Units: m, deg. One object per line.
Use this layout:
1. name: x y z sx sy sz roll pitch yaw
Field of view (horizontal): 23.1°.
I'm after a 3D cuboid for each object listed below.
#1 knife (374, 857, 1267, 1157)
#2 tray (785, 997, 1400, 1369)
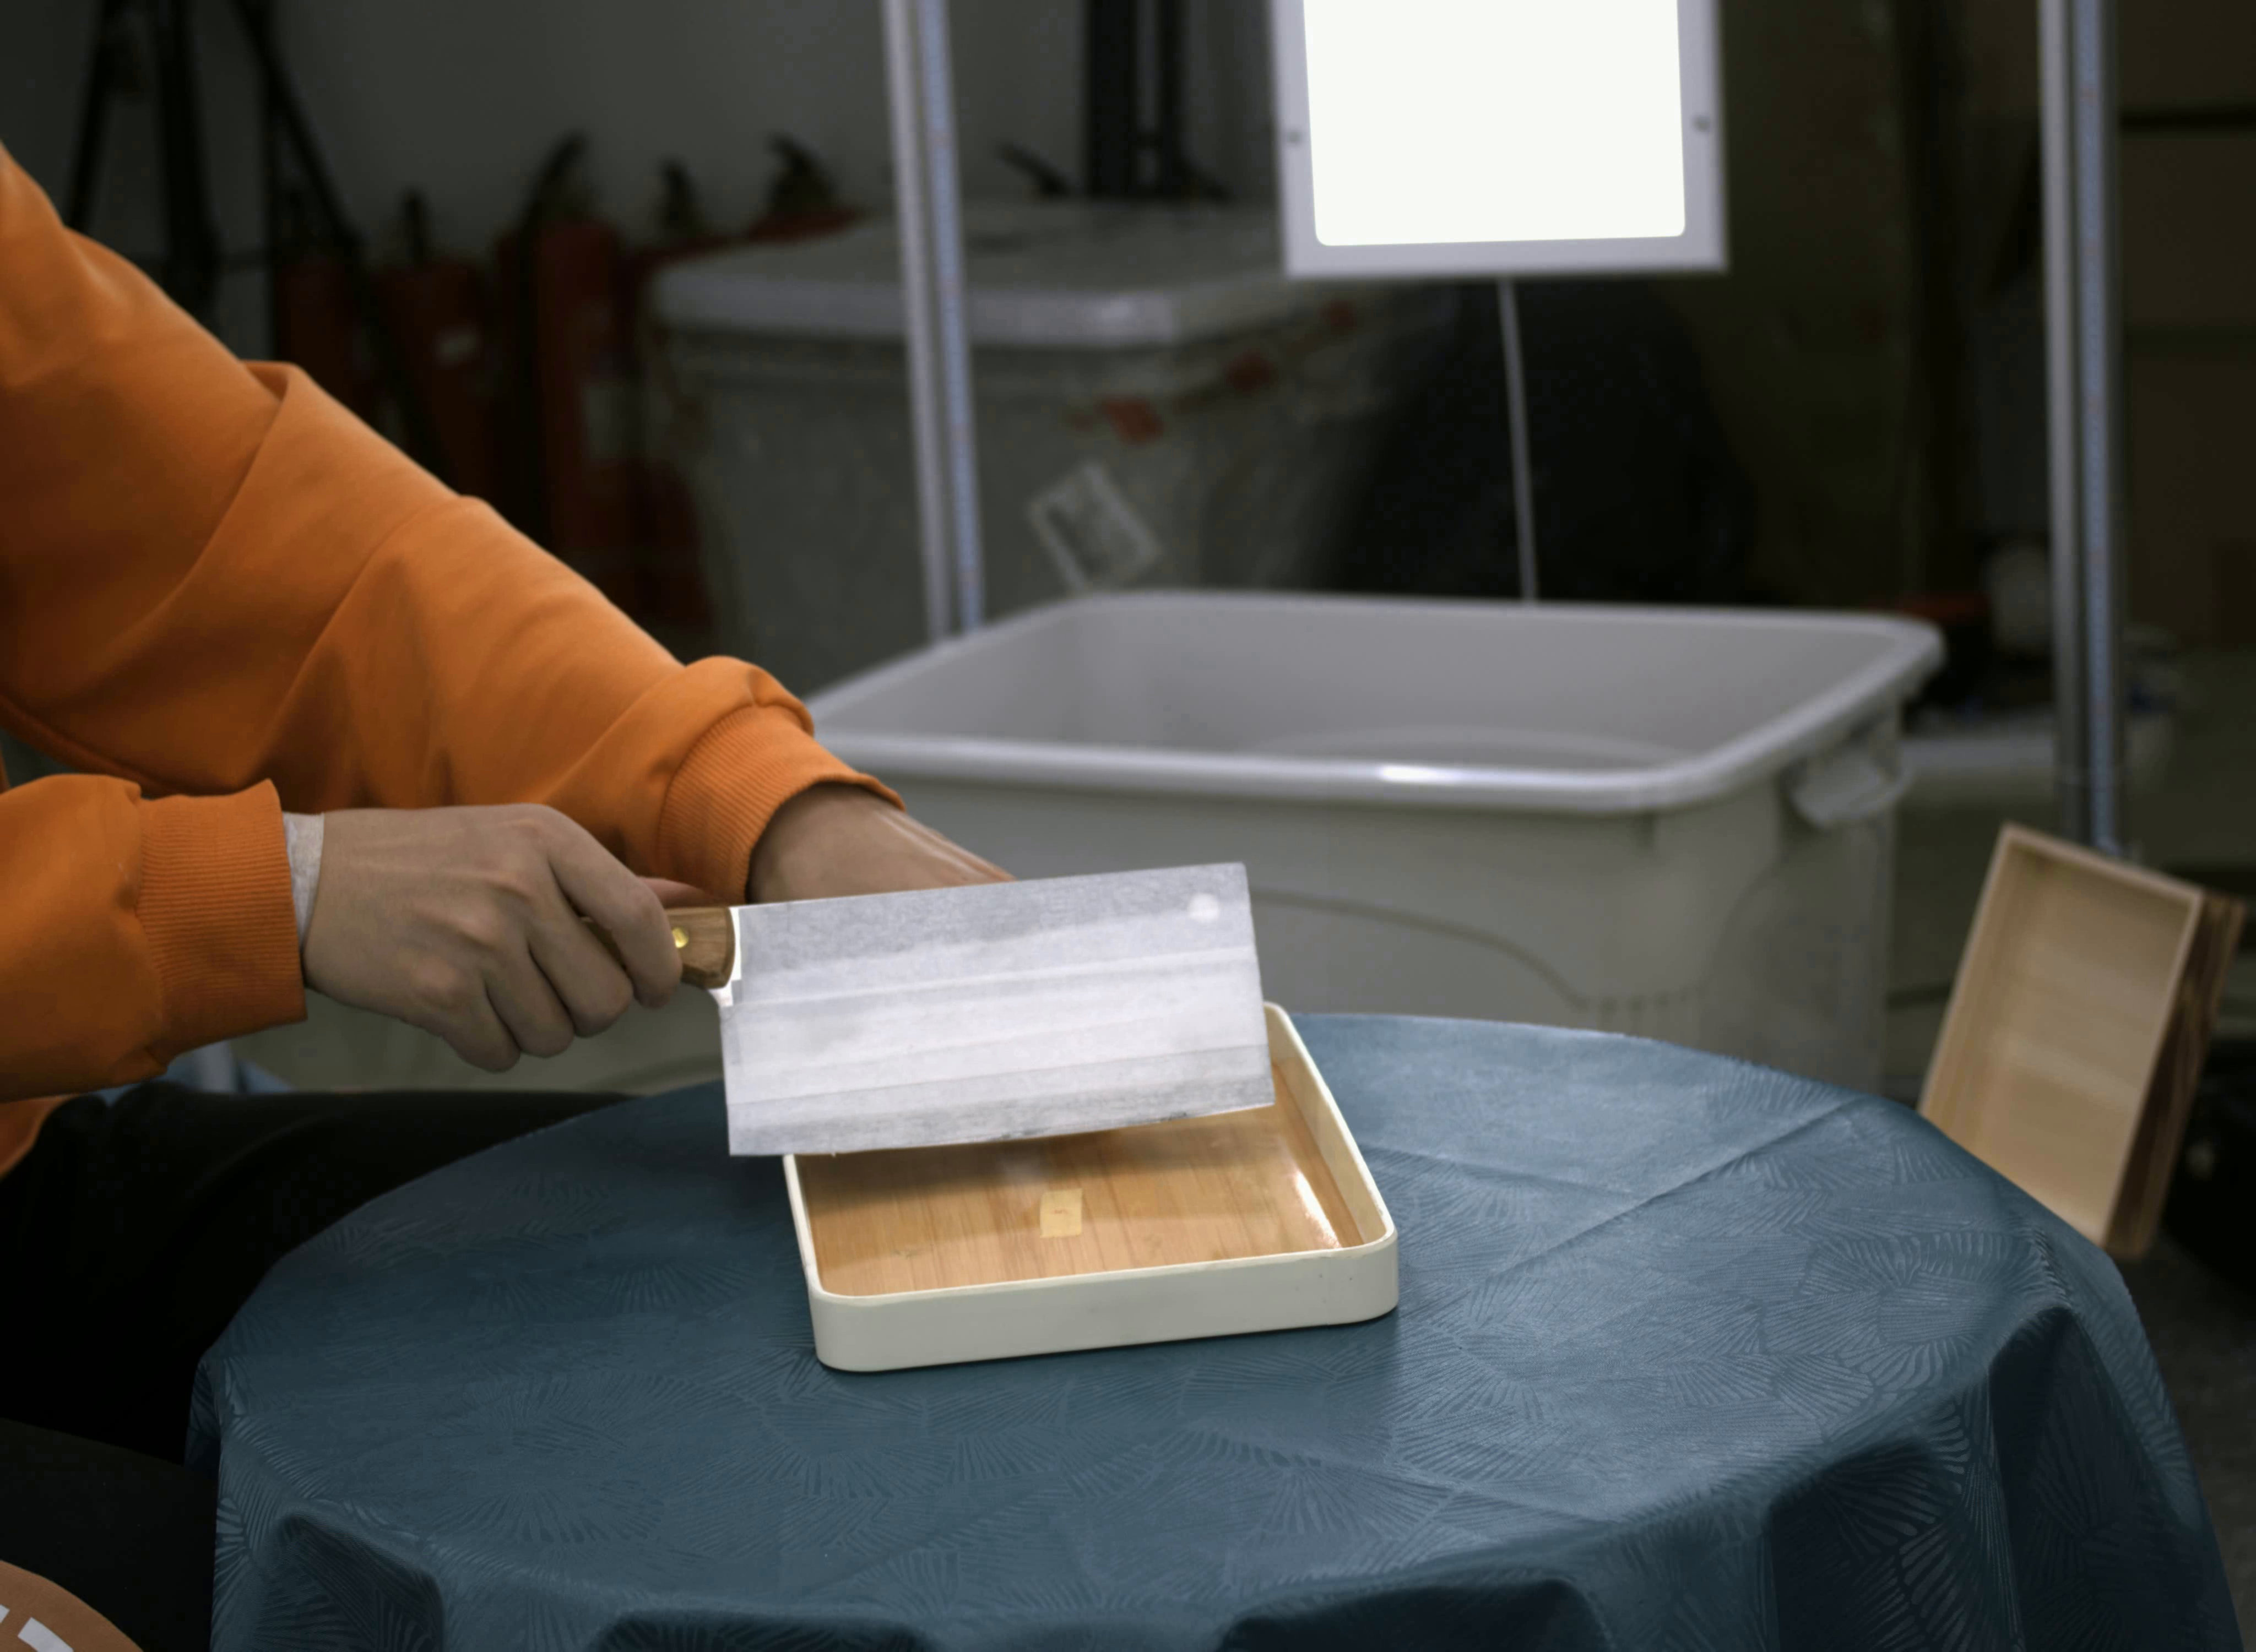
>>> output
1. knife: -0.104 0.066 1.900 0.304 0.093 0.021 -5 -17 -3
2. tray: -0.020 0.118 1.879 0.190 0.027 0.301 -6 14 -4
